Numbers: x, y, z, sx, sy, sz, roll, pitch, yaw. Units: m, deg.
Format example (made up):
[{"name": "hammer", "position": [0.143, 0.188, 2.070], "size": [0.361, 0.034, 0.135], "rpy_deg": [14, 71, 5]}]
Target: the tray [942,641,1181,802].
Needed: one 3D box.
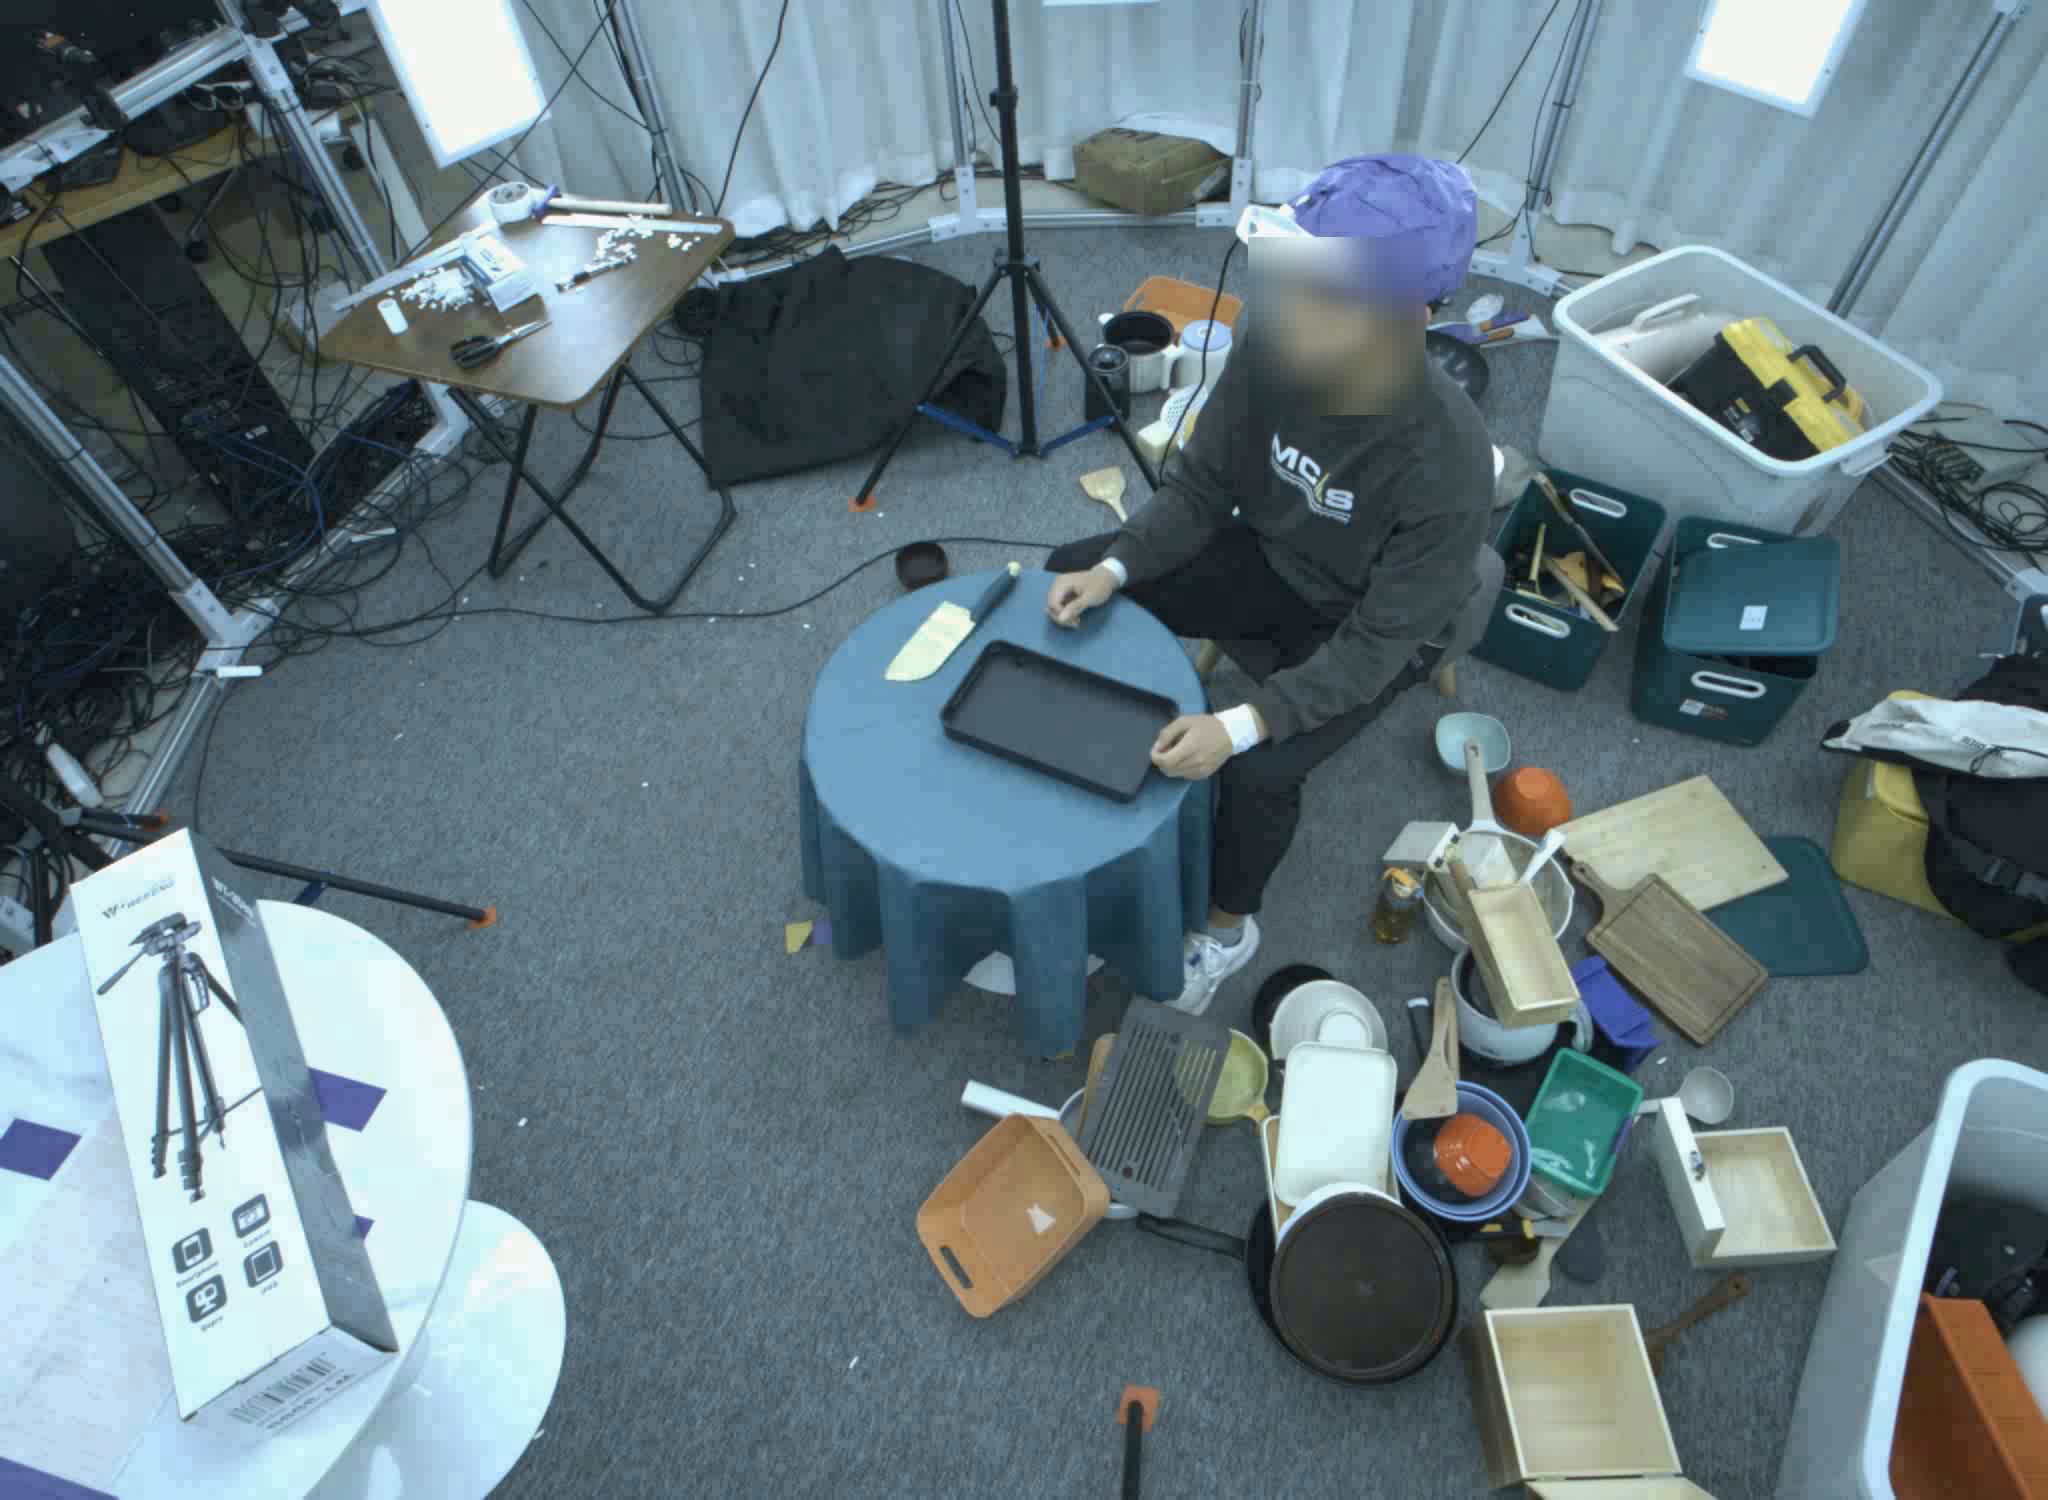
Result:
[{"name": "tray", "position": [0.055, -0.045, 1.804], "size": [0.314, 0.037, 0.184], "rpy_deg": [20, 56, 15]}]

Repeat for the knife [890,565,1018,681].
[{"name": "knife", "position": [-0.110, -0.204, 1.935], "size": [0.080, 0.027, 0.291], "rpy_deg": [32, 62, 20]}]
